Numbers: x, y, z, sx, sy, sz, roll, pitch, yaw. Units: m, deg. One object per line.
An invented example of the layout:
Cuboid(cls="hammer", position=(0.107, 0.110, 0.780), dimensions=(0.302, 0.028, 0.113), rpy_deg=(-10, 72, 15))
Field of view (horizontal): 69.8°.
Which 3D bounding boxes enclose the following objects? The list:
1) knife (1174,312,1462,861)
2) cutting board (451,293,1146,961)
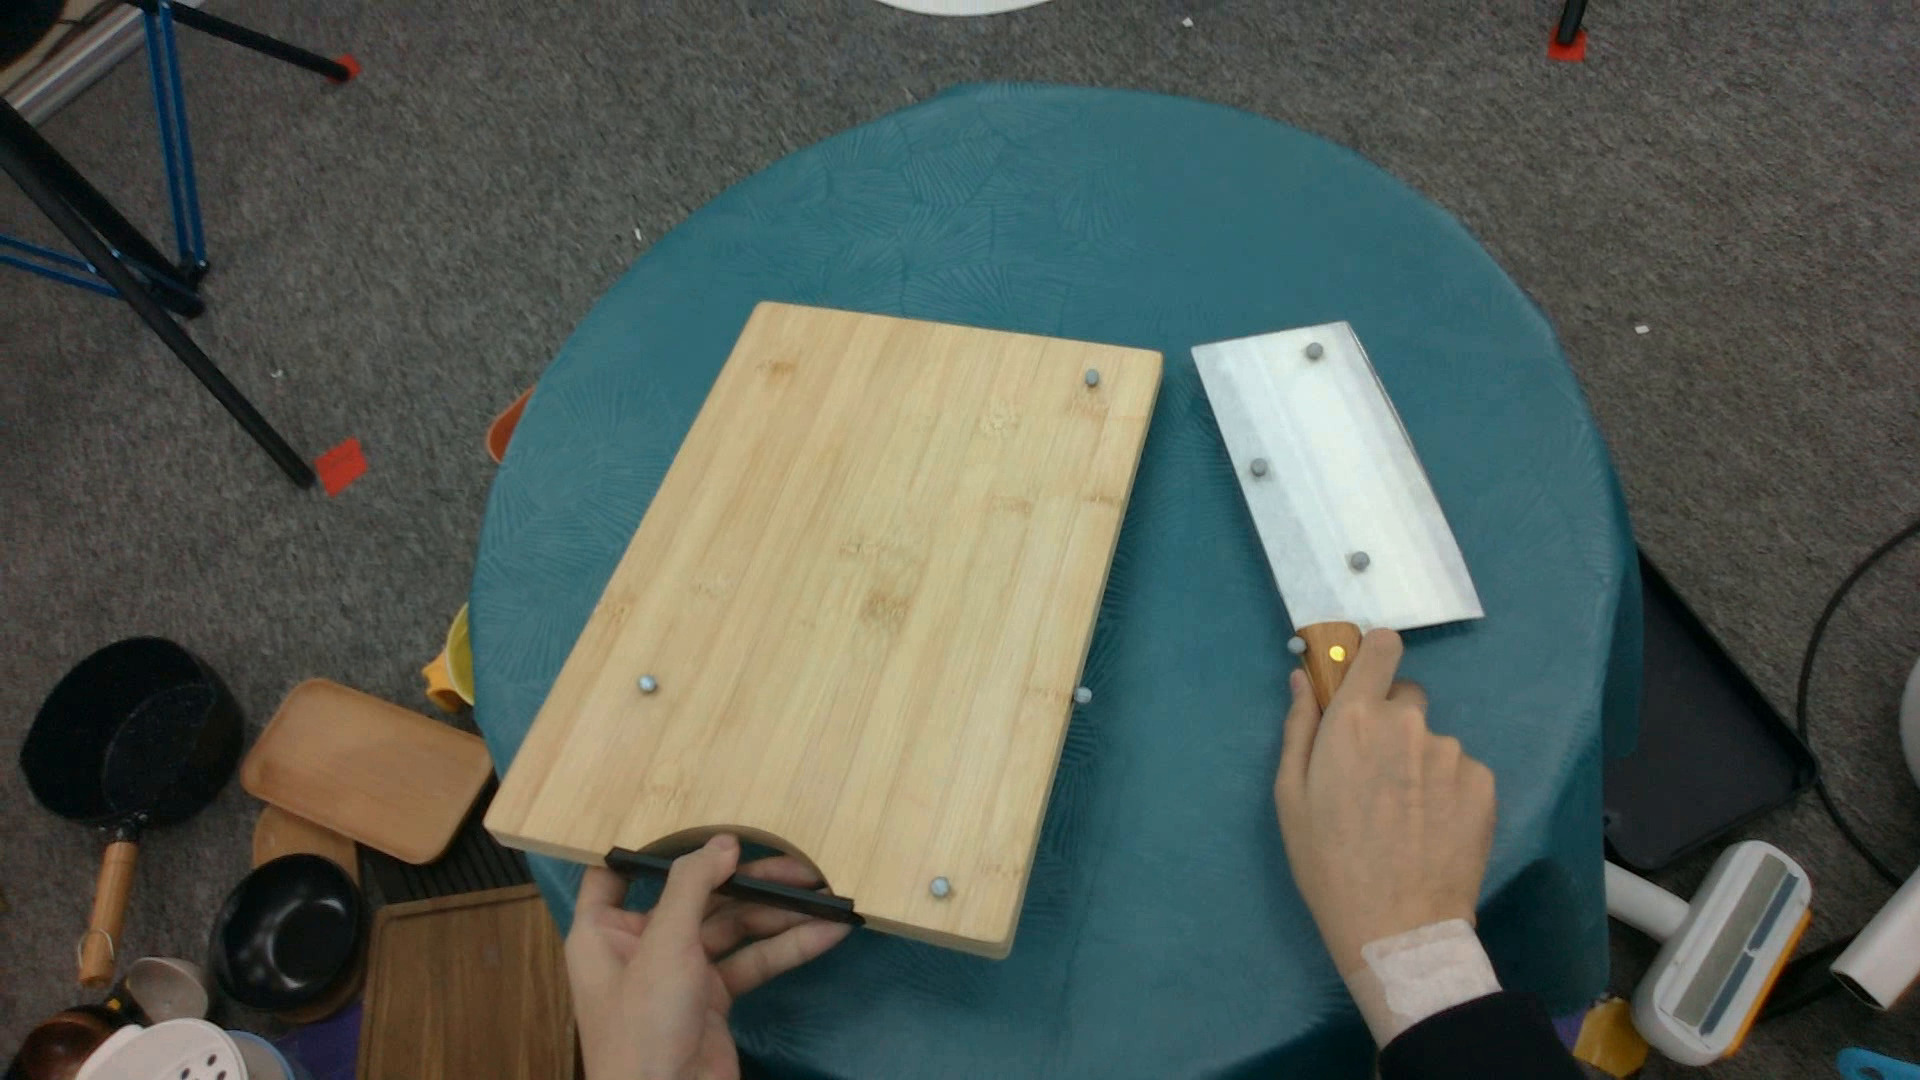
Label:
Cuboid(cls="knife", position=(0.187, 0.004, 0.669), dimensions=(0.093, 0.021, 0.307), rpy_deg=(-10, 57, -5))
Cuboid(cls="cutting board", position=(-0.060, 0.015, 0.678), dimensions=(0.250, 0.023, 0.350), rpy_deg=(8, 54, 13))
